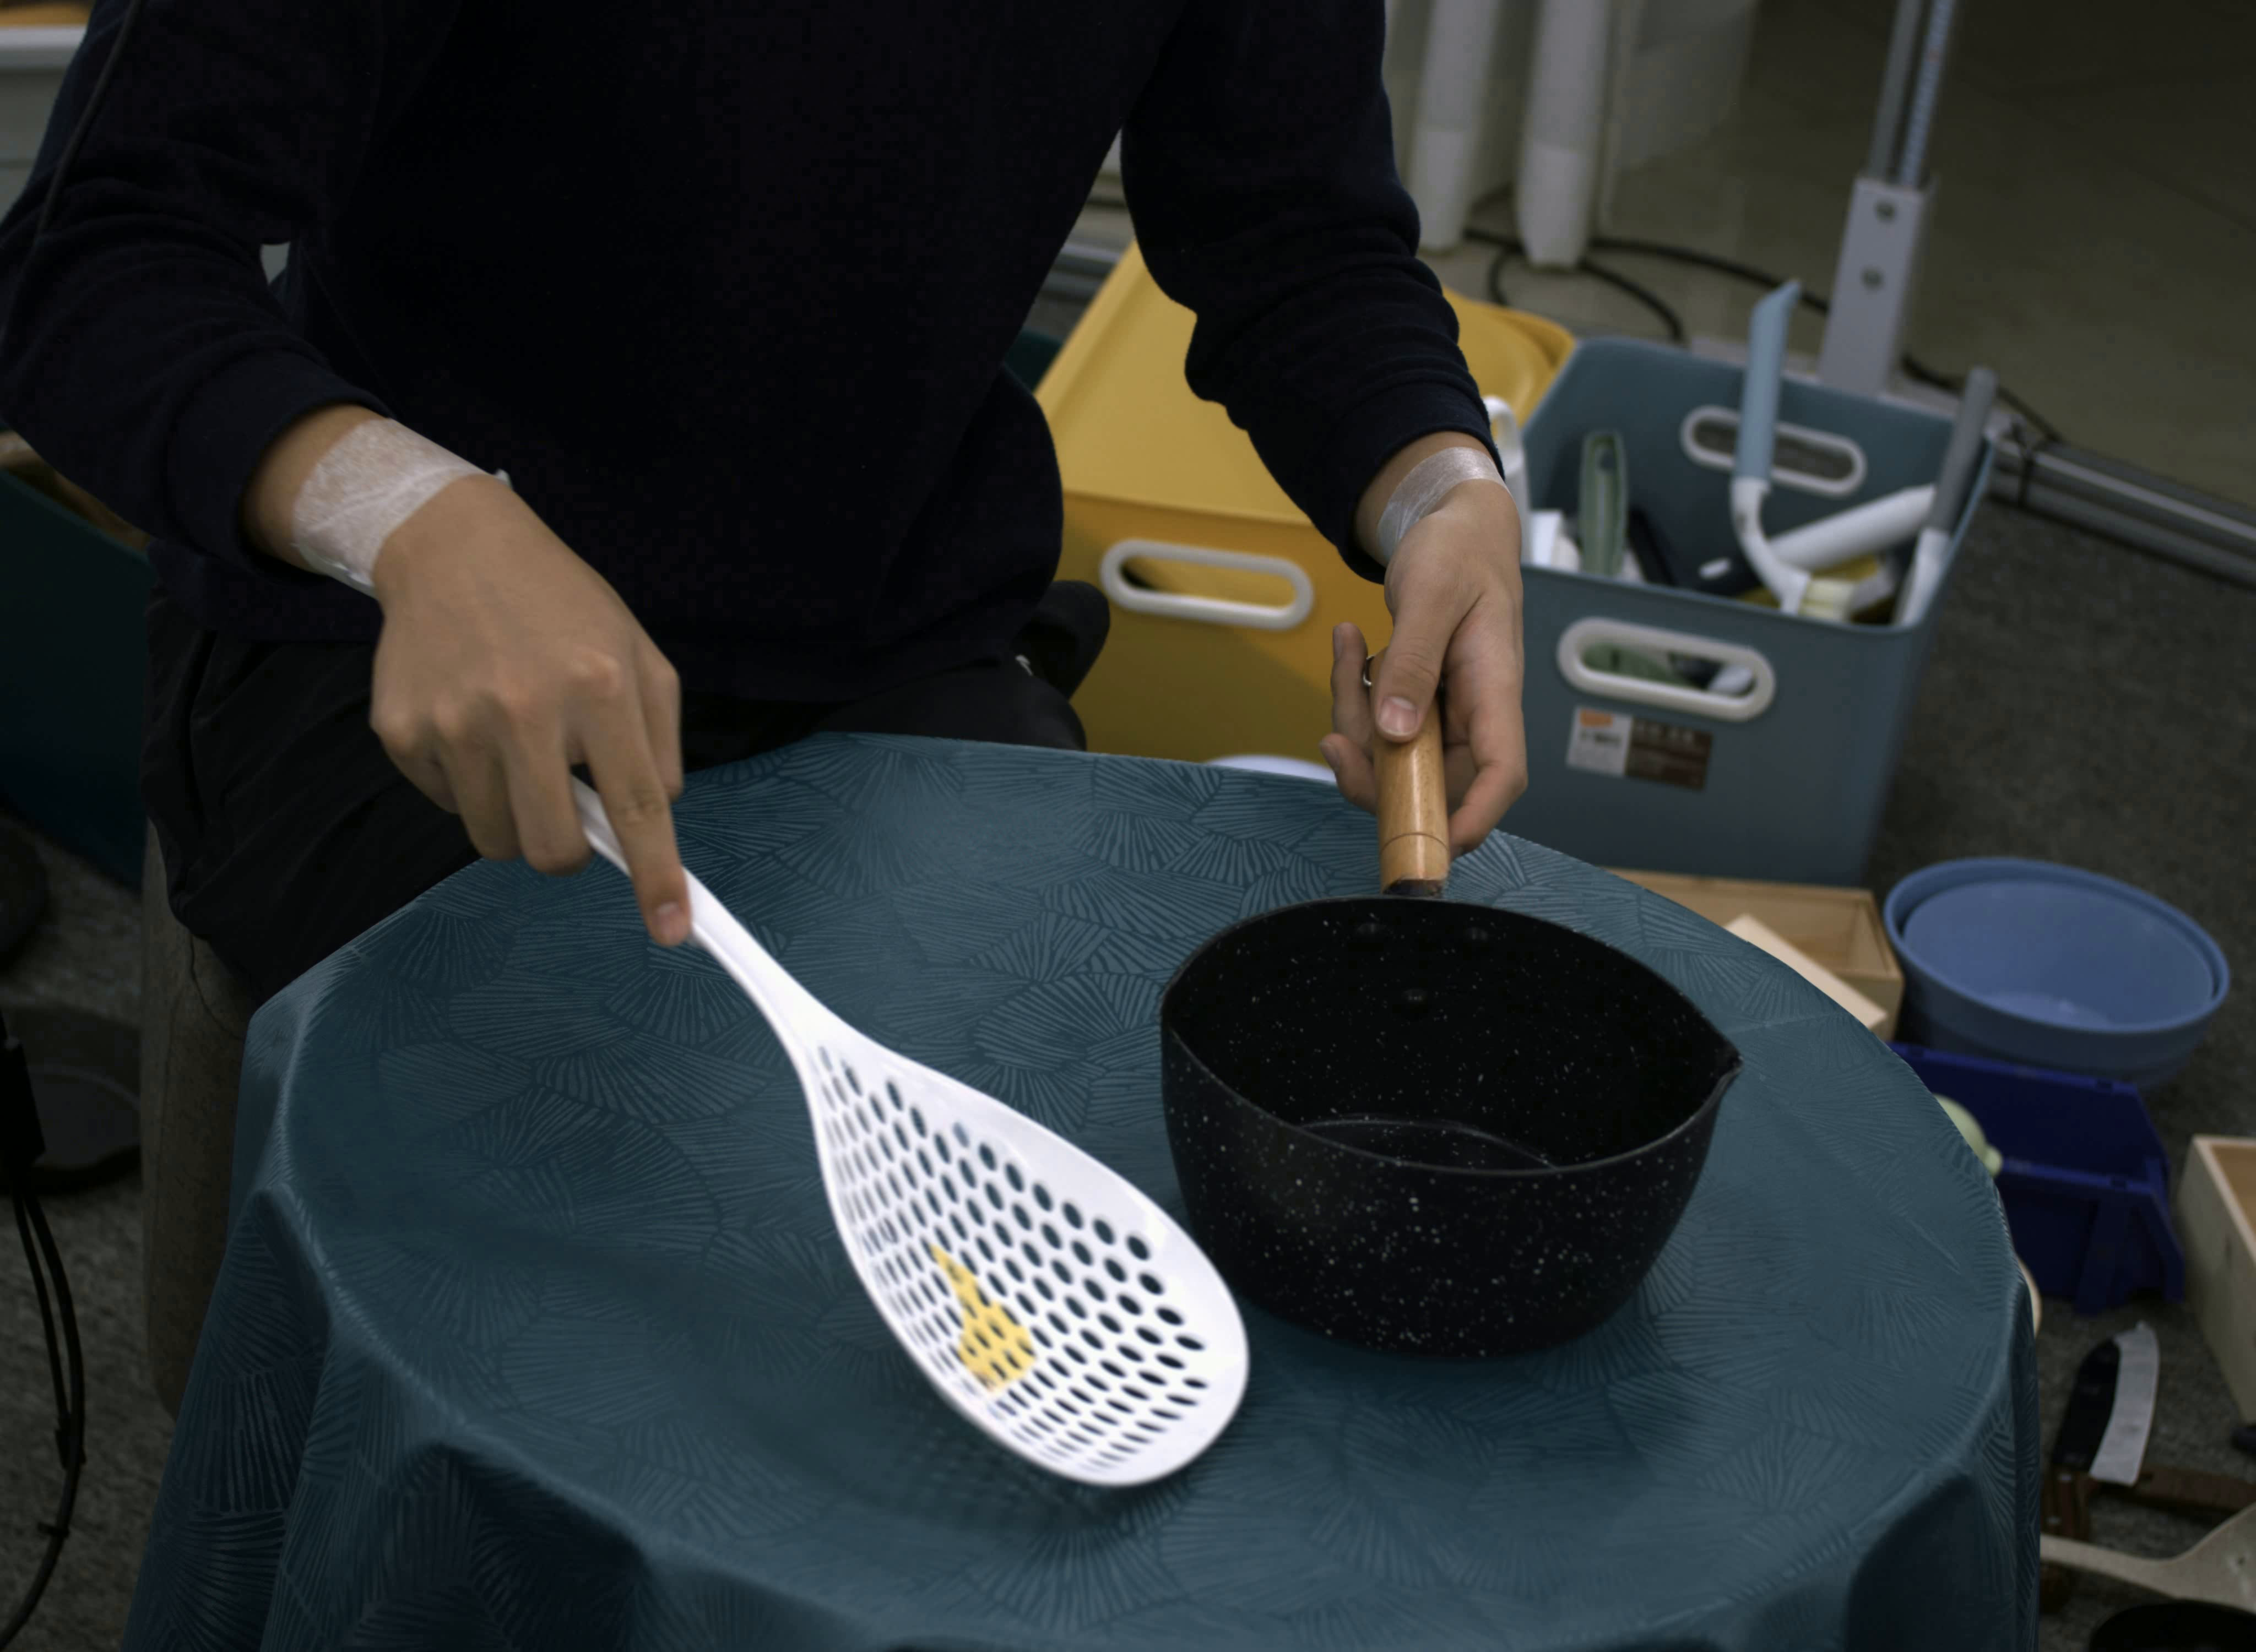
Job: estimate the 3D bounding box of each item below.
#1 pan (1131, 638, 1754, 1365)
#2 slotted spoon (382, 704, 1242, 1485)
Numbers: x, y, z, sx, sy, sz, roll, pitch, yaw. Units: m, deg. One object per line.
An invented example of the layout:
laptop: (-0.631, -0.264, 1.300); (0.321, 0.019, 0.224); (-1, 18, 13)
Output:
pan: (0.099, 0.056, 1.838); (0.207, 0.108, 0.345); (3, 28, -4)
slotted spoon: (-0.106, 0.076, 1.682); (0.348, 0.050, 0.136); (49, 37, 6)
